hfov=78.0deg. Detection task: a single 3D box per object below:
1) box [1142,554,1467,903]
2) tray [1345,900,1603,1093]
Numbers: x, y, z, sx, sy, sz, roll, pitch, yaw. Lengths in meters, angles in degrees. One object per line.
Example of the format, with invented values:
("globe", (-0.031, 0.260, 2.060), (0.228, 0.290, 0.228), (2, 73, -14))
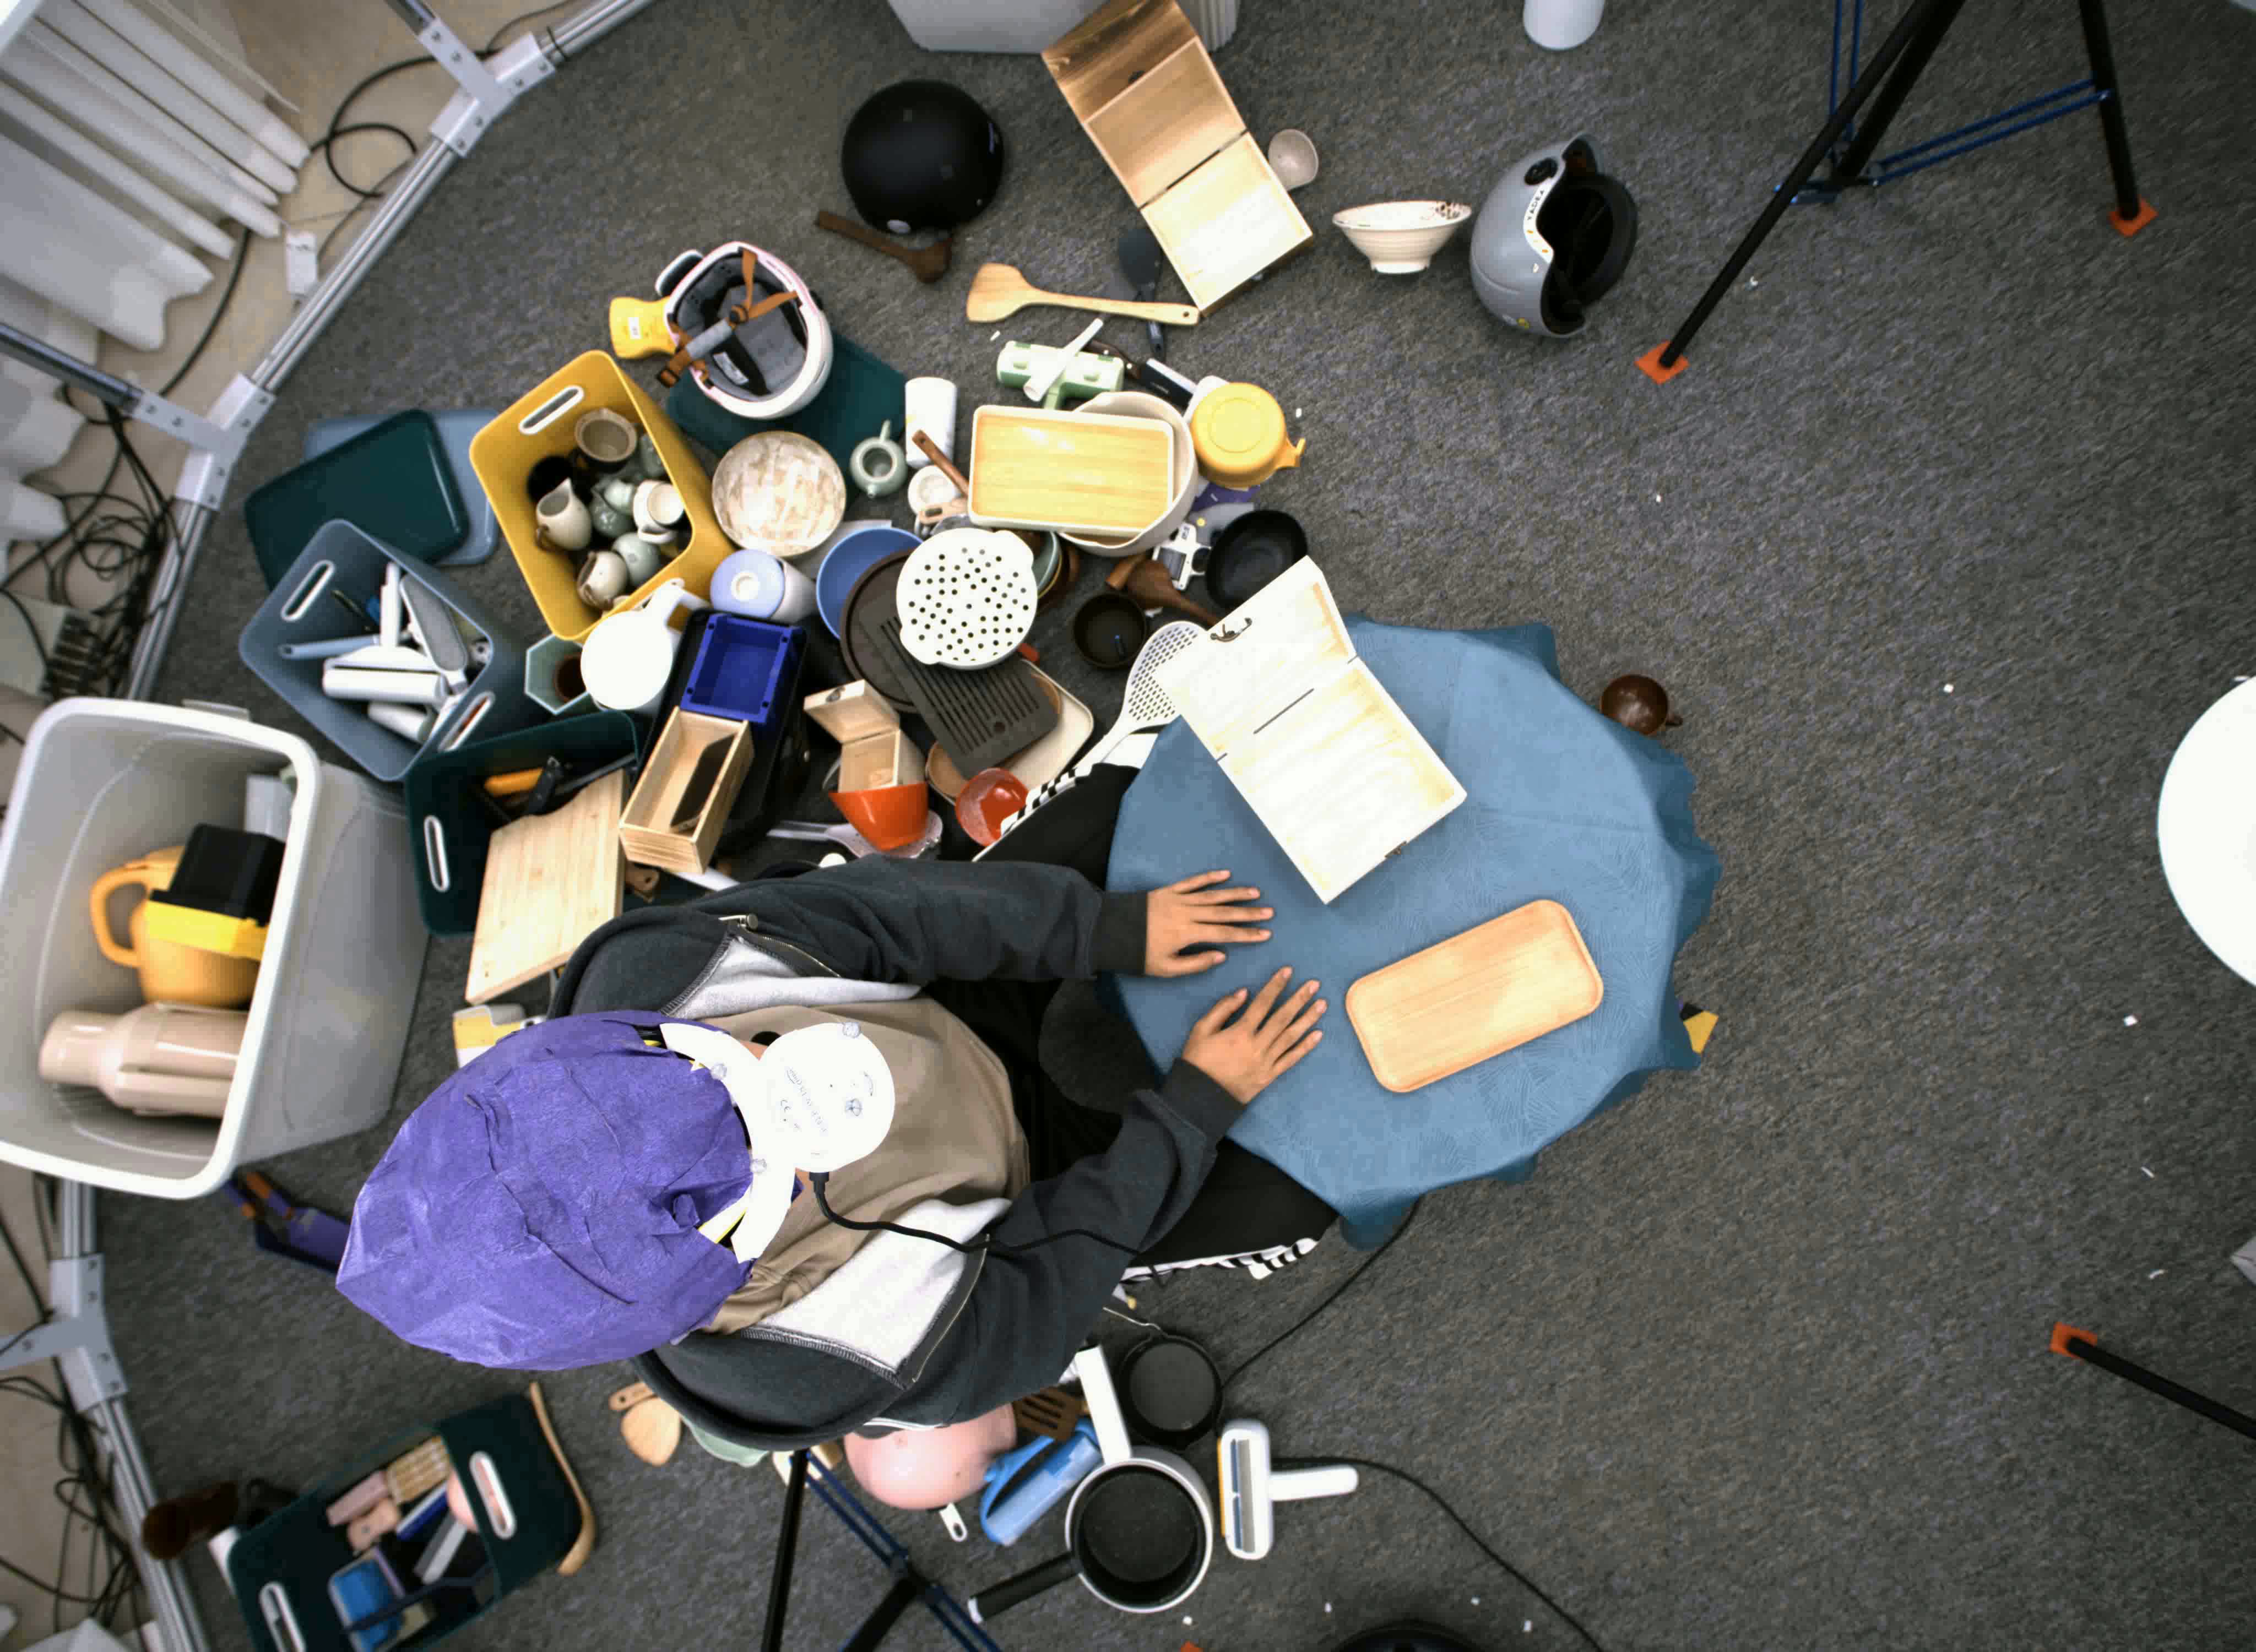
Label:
("box", (0.185, -0.082, 1.360), (0.183, 0.253, 0.263), (-38, 79, 7))
("tray", (0.356, 0.175, 1.428), (0.252, 0.023, 0.129), (-25, 80, 9))
